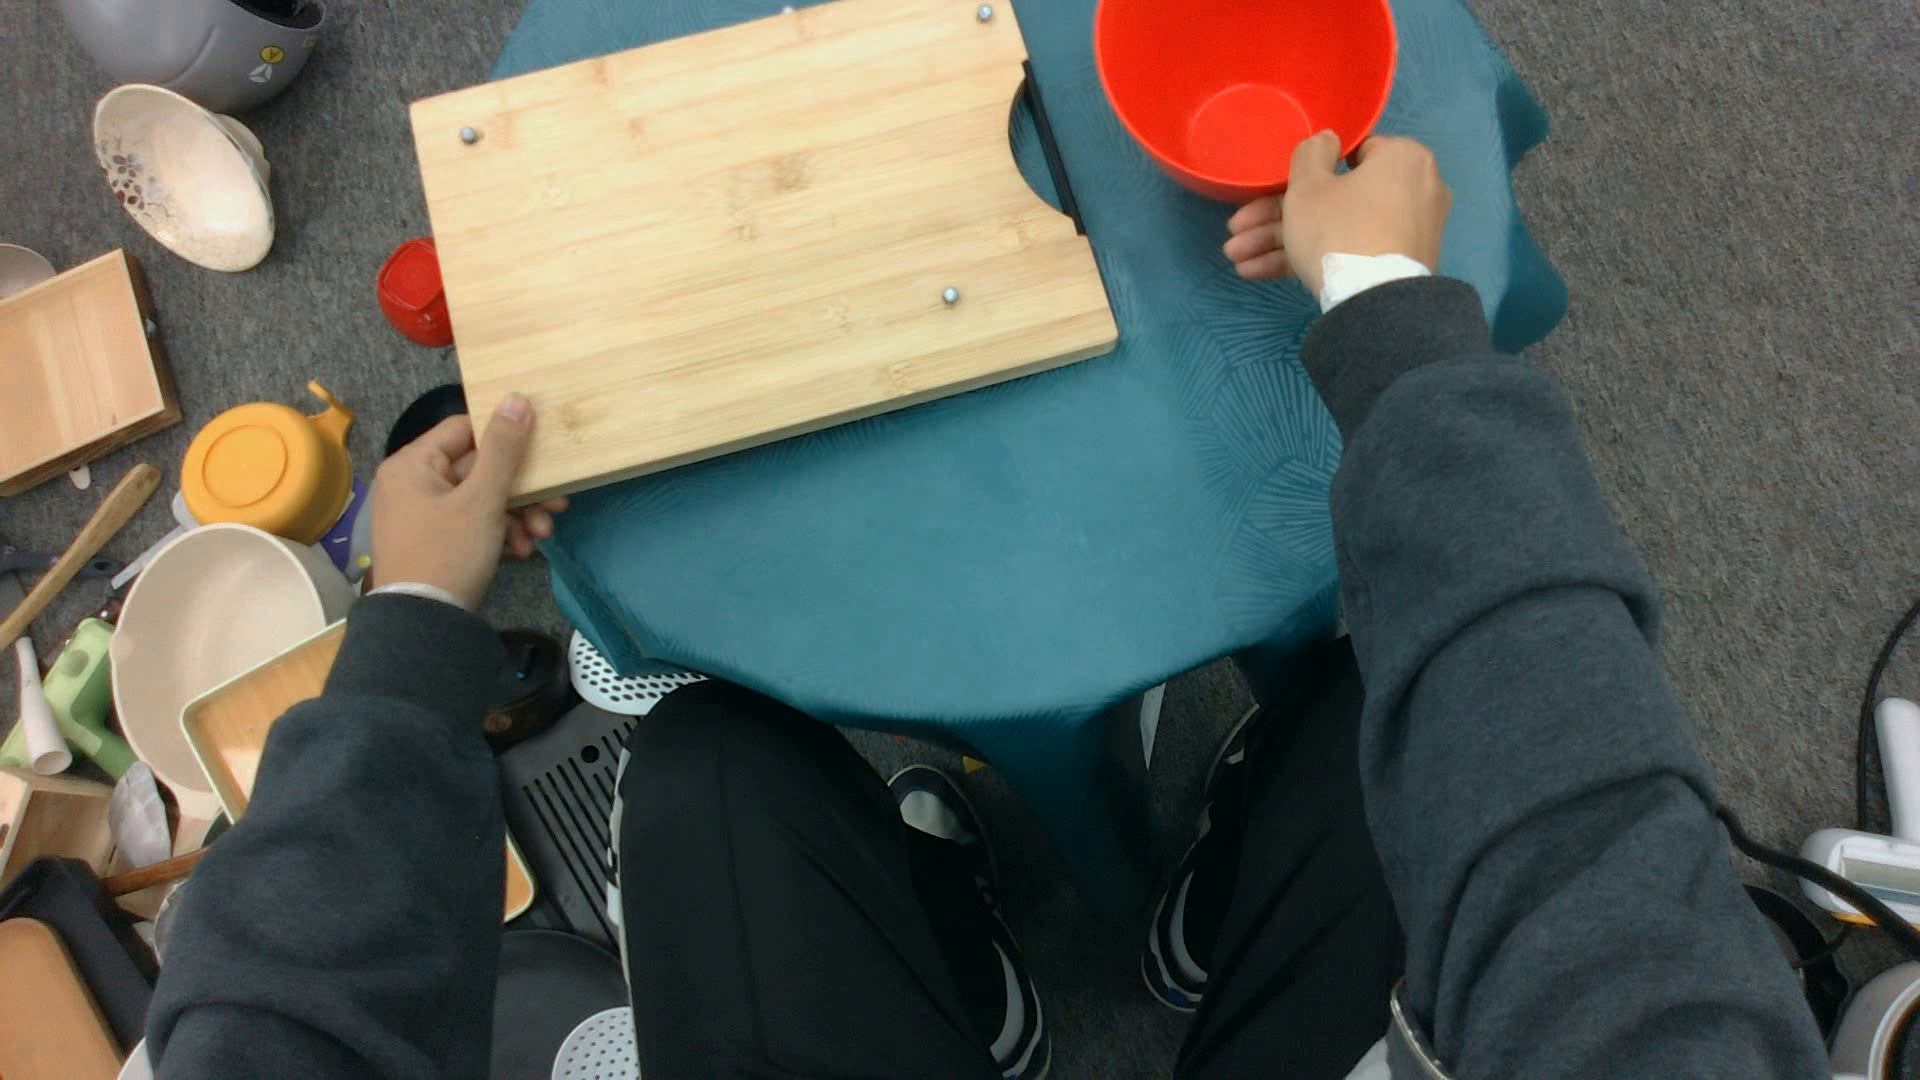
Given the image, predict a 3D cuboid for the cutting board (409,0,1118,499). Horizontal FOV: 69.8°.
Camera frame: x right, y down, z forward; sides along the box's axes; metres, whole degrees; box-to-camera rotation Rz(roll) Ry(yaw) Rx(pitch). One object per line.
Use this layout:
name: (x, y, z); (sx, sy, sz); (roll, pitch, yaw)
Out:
cutting board: (-0.115, -0.179, 0.757); (0.349, 0.023, 0.251); (-16, 76, -4)

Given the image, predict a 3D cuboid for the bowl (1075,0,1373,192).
bowl: (0.135, -0.244, 0.721); (0.148, 0.104, 0.148); (-1, 76, 5)
